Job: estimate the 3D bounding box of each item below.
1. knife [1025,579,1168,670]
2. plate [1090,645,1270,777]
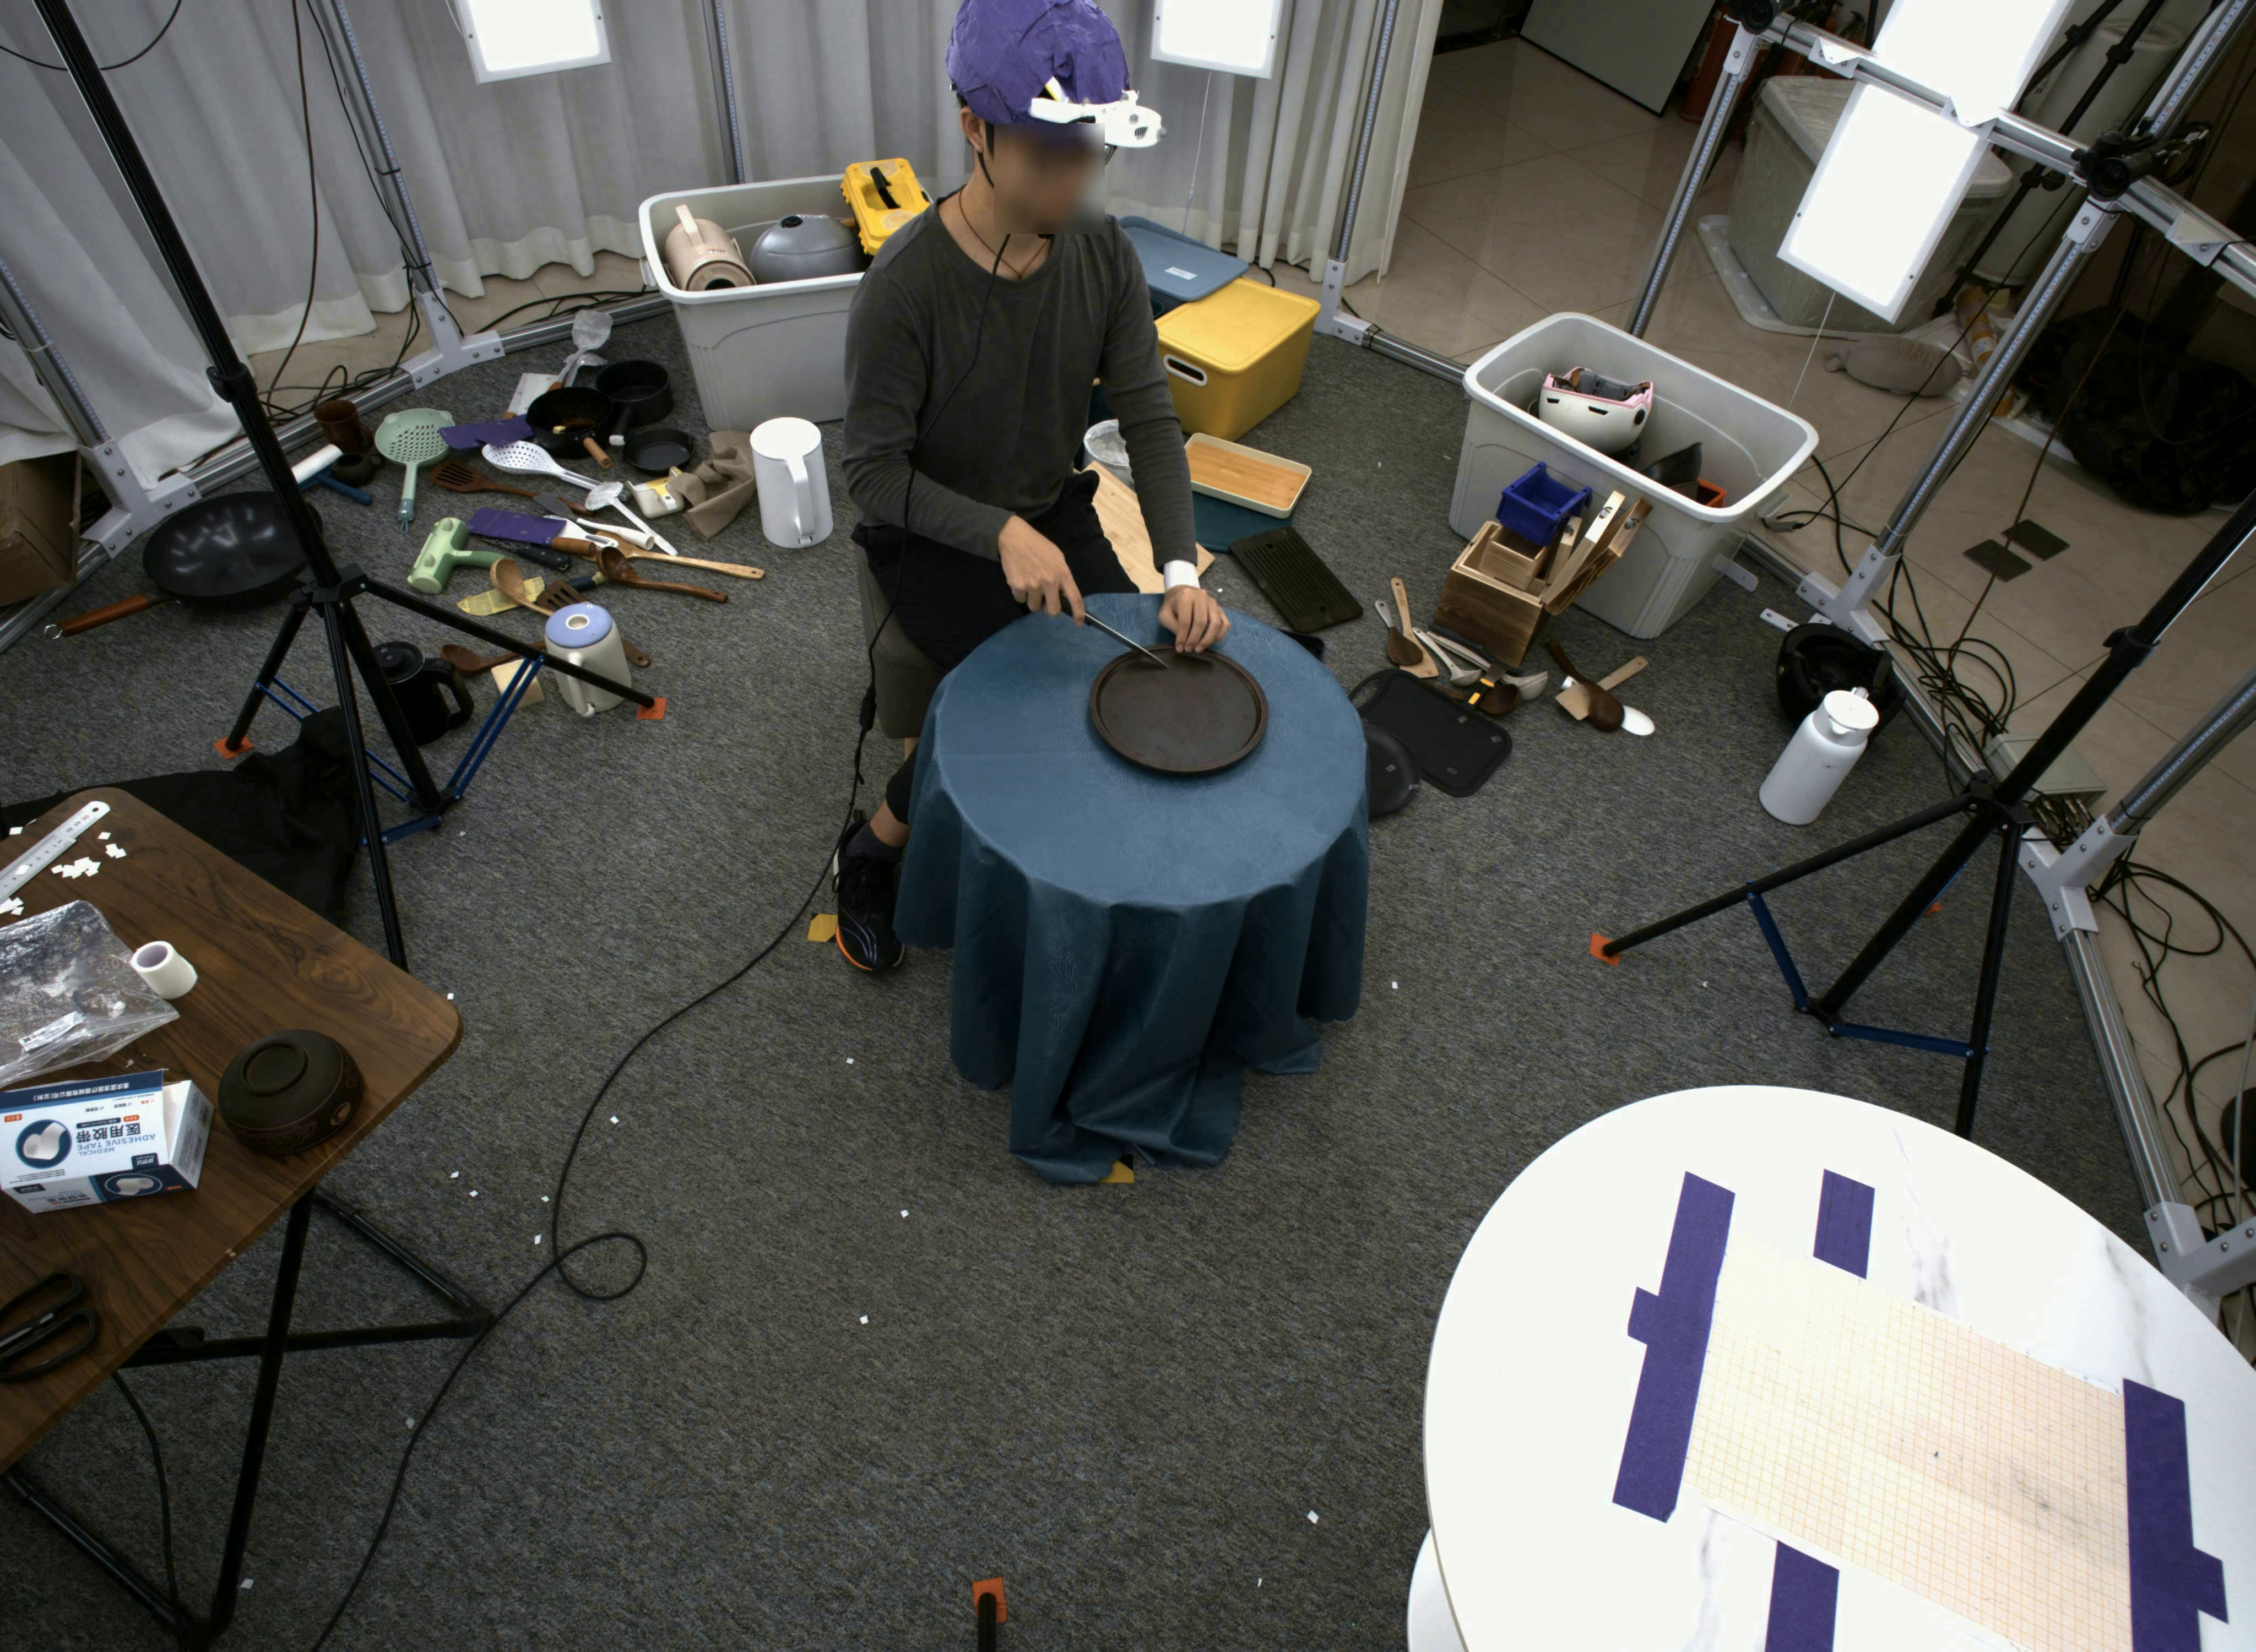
[{"bbox_3d":[-0.042,-0.288,1.842,0.237,0.024,0.016,31,68,-6],"label":"knife"},{"bbox_3d":[0.072,-0.163,1.799,0.254,0.028,0.261,2,50,-3],"label":"plate"}]
